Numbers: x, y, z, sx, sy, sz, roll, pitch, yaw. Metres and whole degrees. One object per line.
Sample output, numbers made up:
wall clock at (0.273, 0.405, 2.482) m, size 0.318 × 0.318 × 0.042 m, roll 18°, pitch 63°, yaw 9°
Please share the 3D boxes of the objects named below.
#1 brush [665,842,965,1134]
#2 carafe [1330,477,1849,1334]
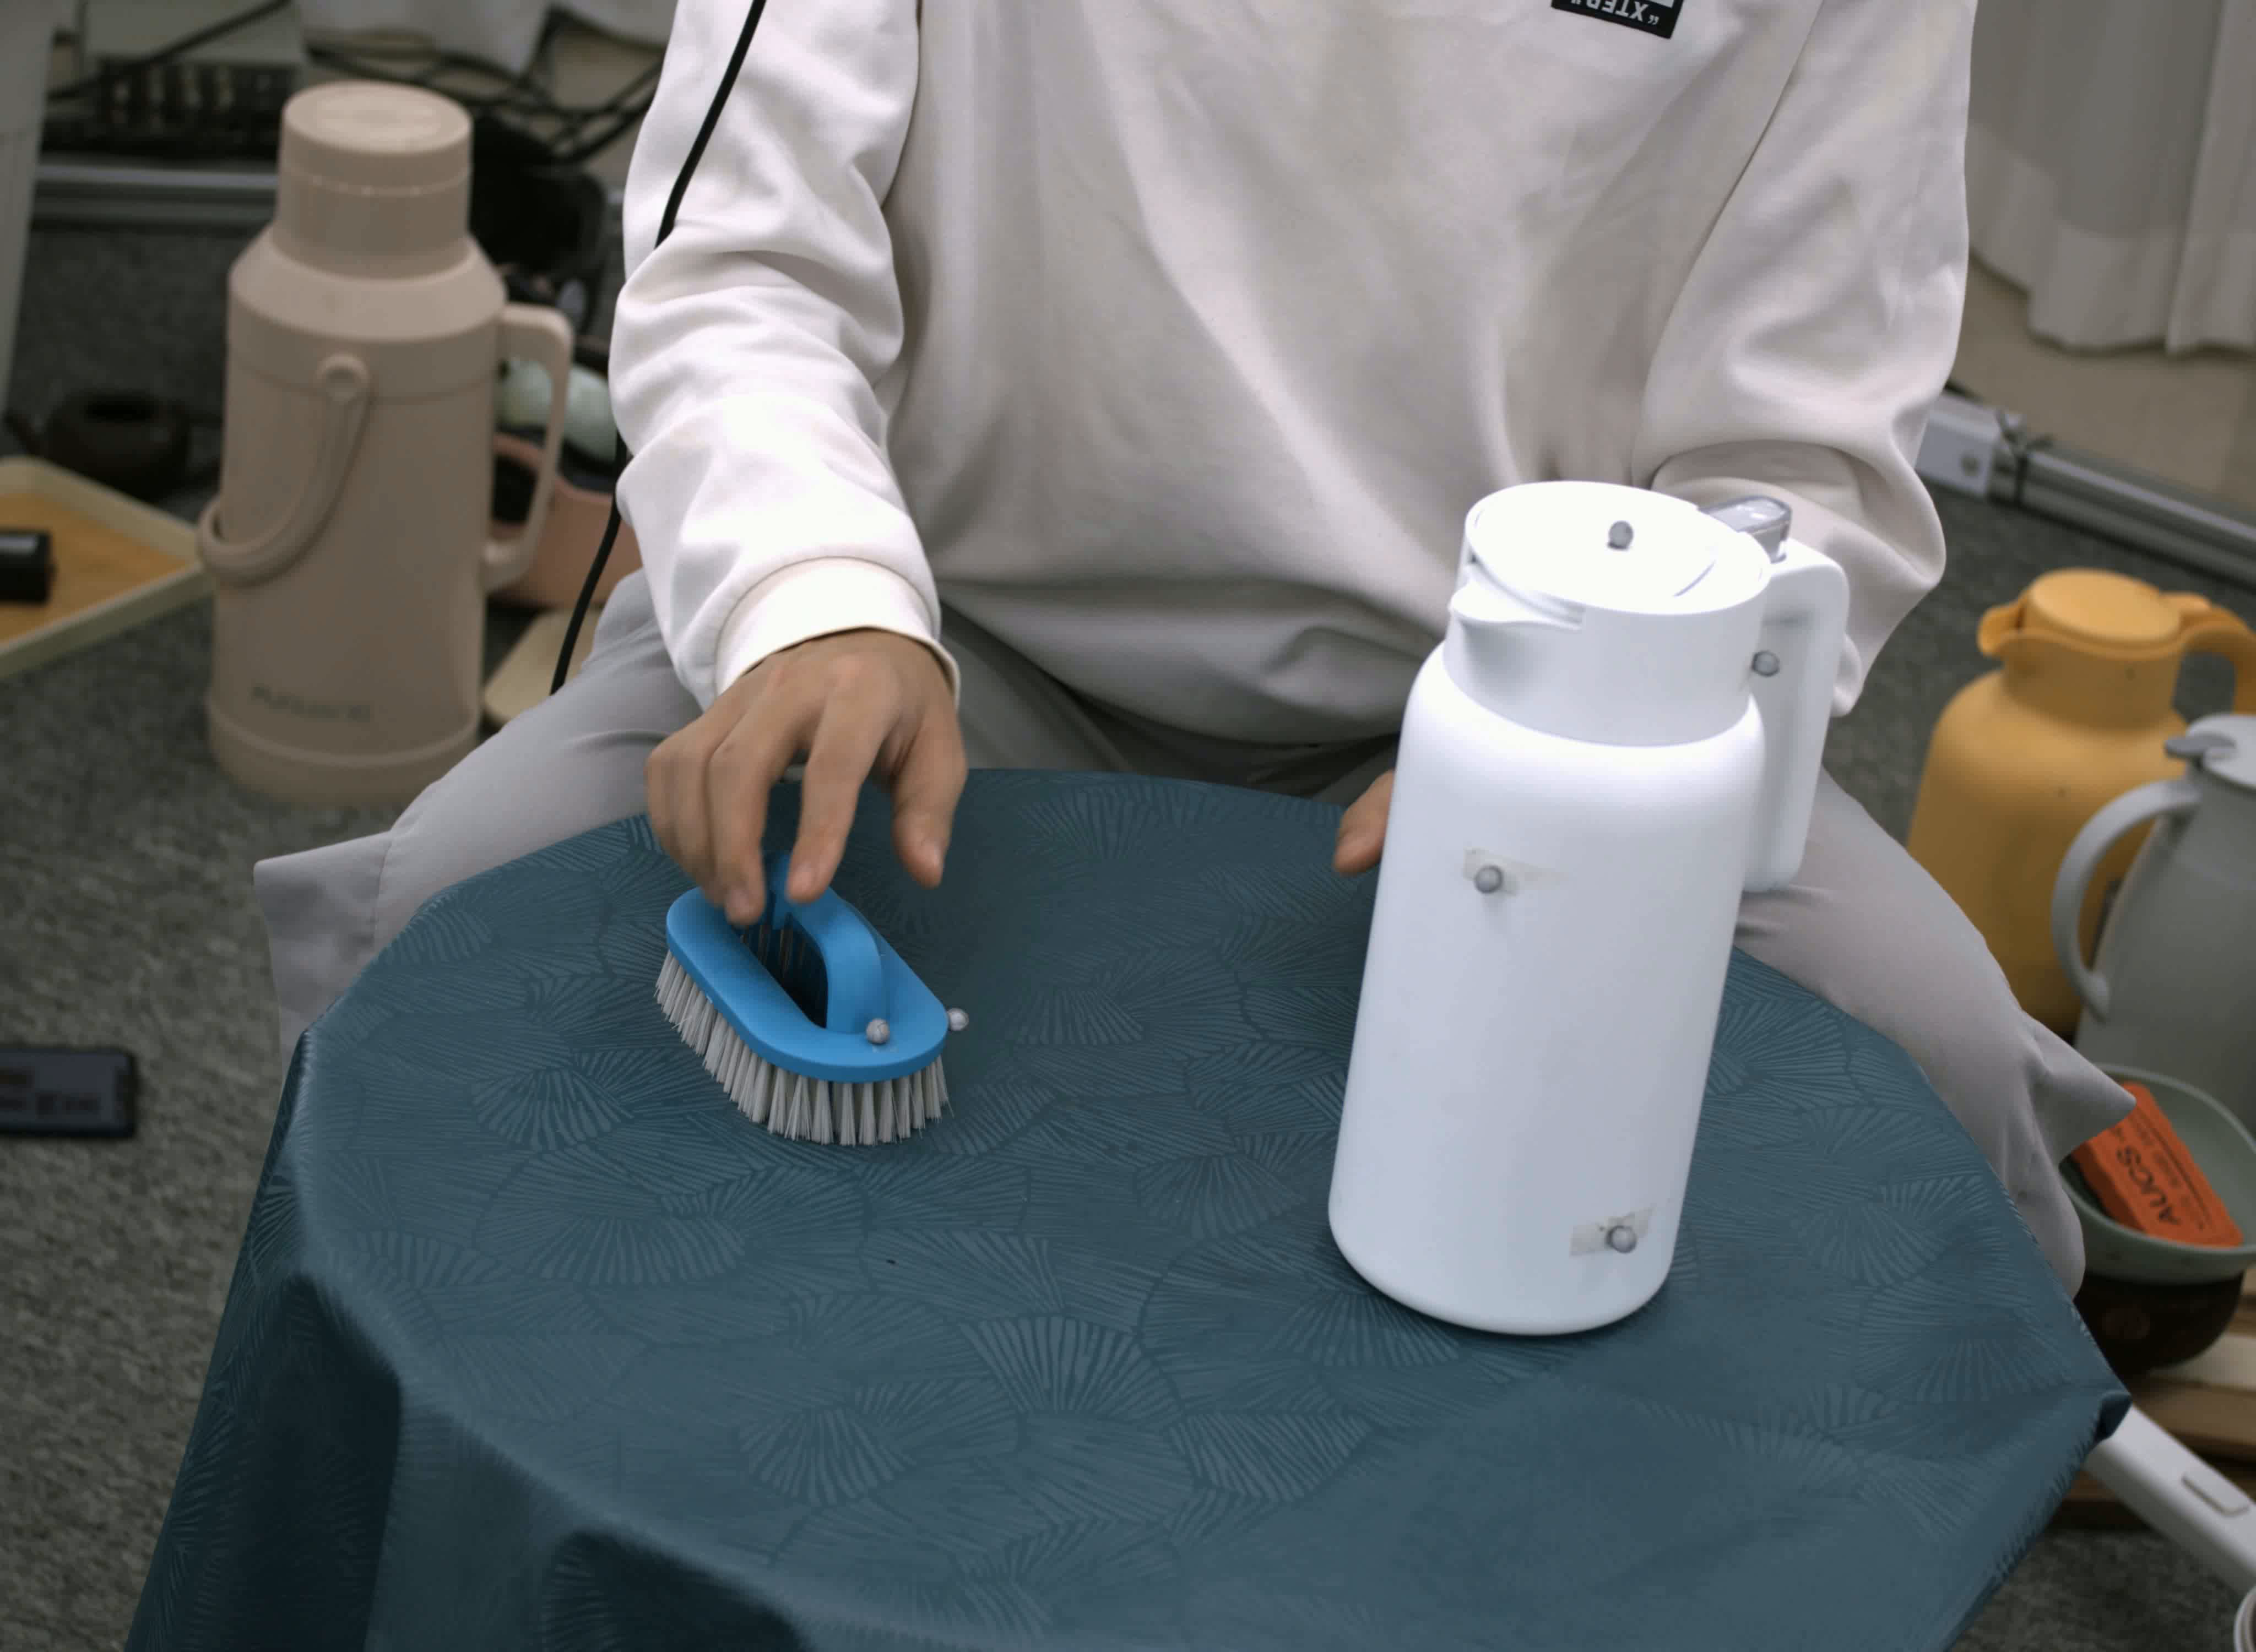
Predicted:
brush at (-0.111, 0.048, 1.857) m, size 0.084 × 0.063 × 0.143 m, roll -11°, pitch 31°, yaw -22°
carafe at (0.152, 0.022, 1.748) m, size 0.172 × 0.268 × 0.125 m, roll -15°, pitch 32°, yaw -38°
